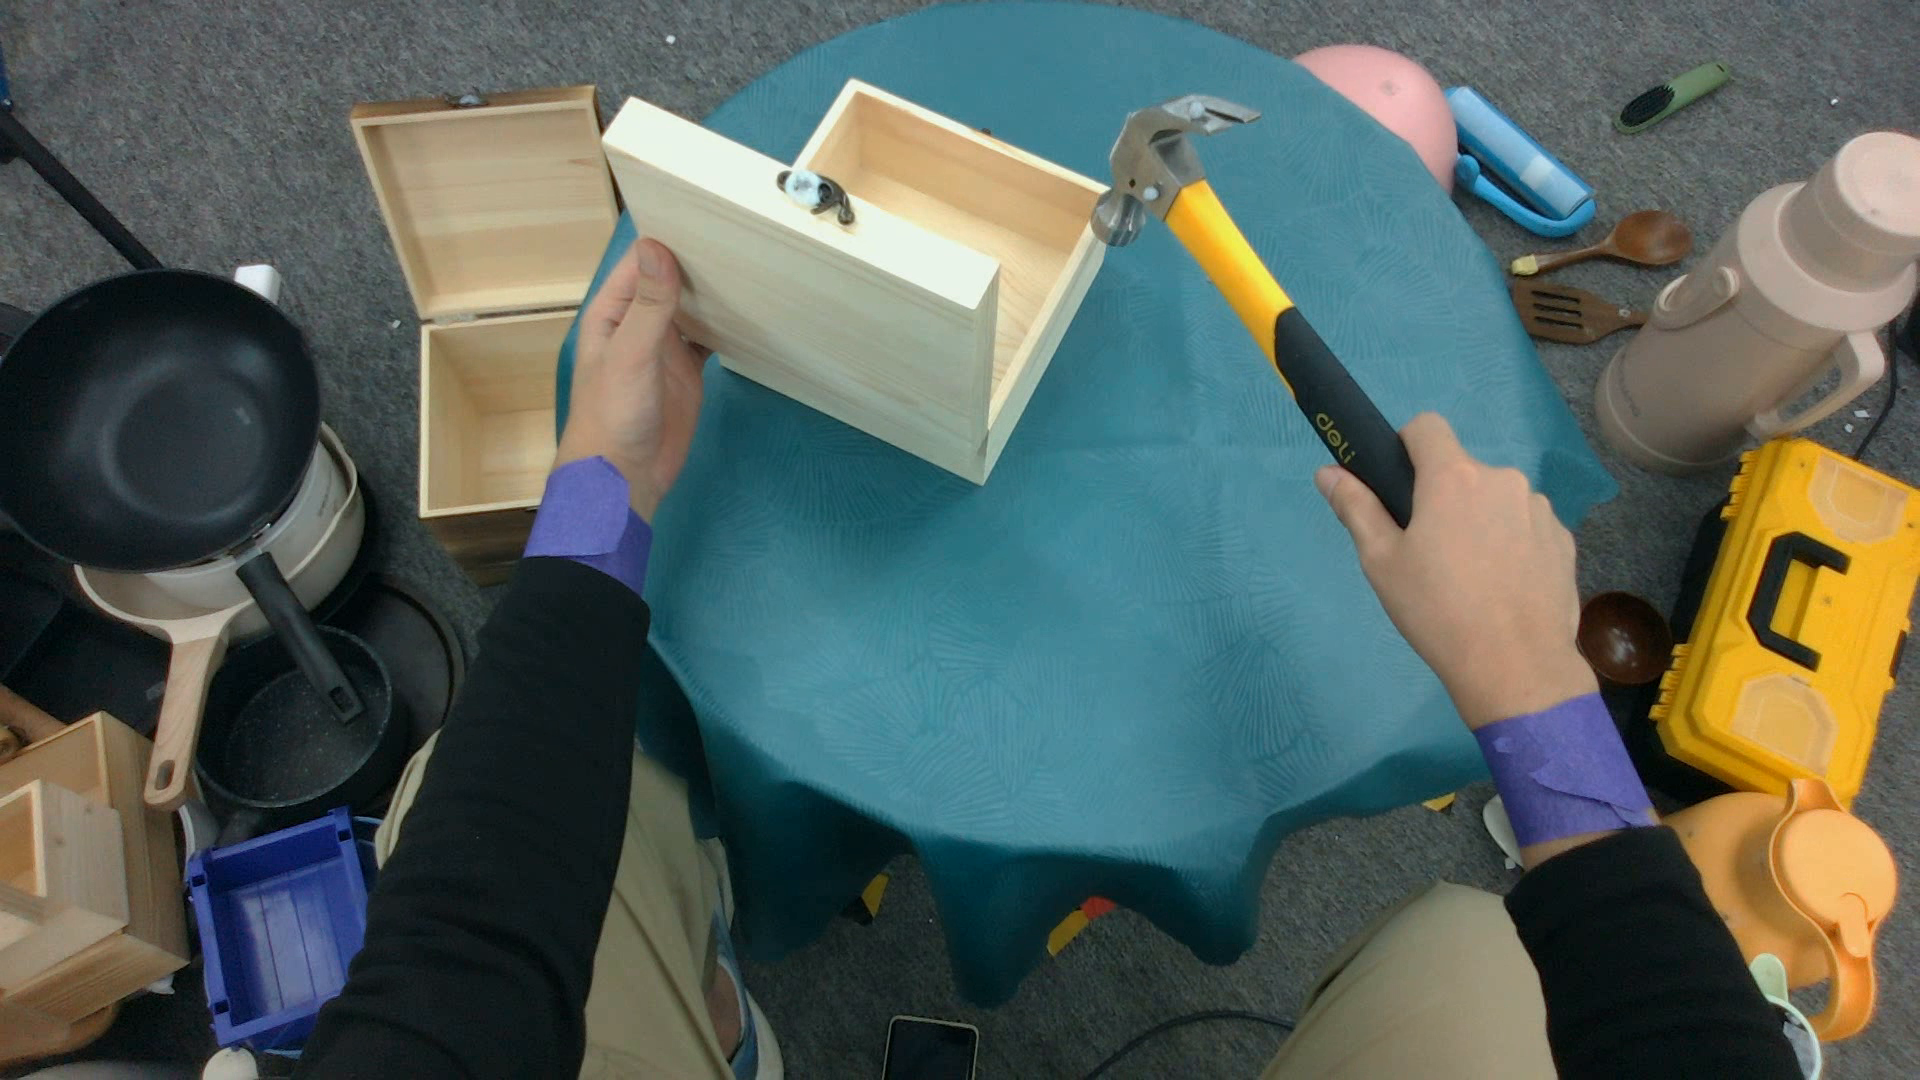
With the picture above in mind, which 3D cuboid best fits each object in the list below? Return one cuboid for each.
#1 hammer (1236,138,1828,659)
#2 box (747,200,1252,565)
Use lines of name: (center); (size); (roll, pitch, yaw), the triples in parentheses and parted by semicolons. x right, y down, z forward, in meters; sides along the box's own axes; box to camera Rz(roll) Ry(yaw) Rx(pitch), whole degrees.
hammer: (0.261, -0.072, 0.662); (0.032, 0.131, 0.339); (-34, 65, -16)
box: (0.045, -0.109, 0.751); (0.181, 0.252, 0.266); (14, 66, 15)
